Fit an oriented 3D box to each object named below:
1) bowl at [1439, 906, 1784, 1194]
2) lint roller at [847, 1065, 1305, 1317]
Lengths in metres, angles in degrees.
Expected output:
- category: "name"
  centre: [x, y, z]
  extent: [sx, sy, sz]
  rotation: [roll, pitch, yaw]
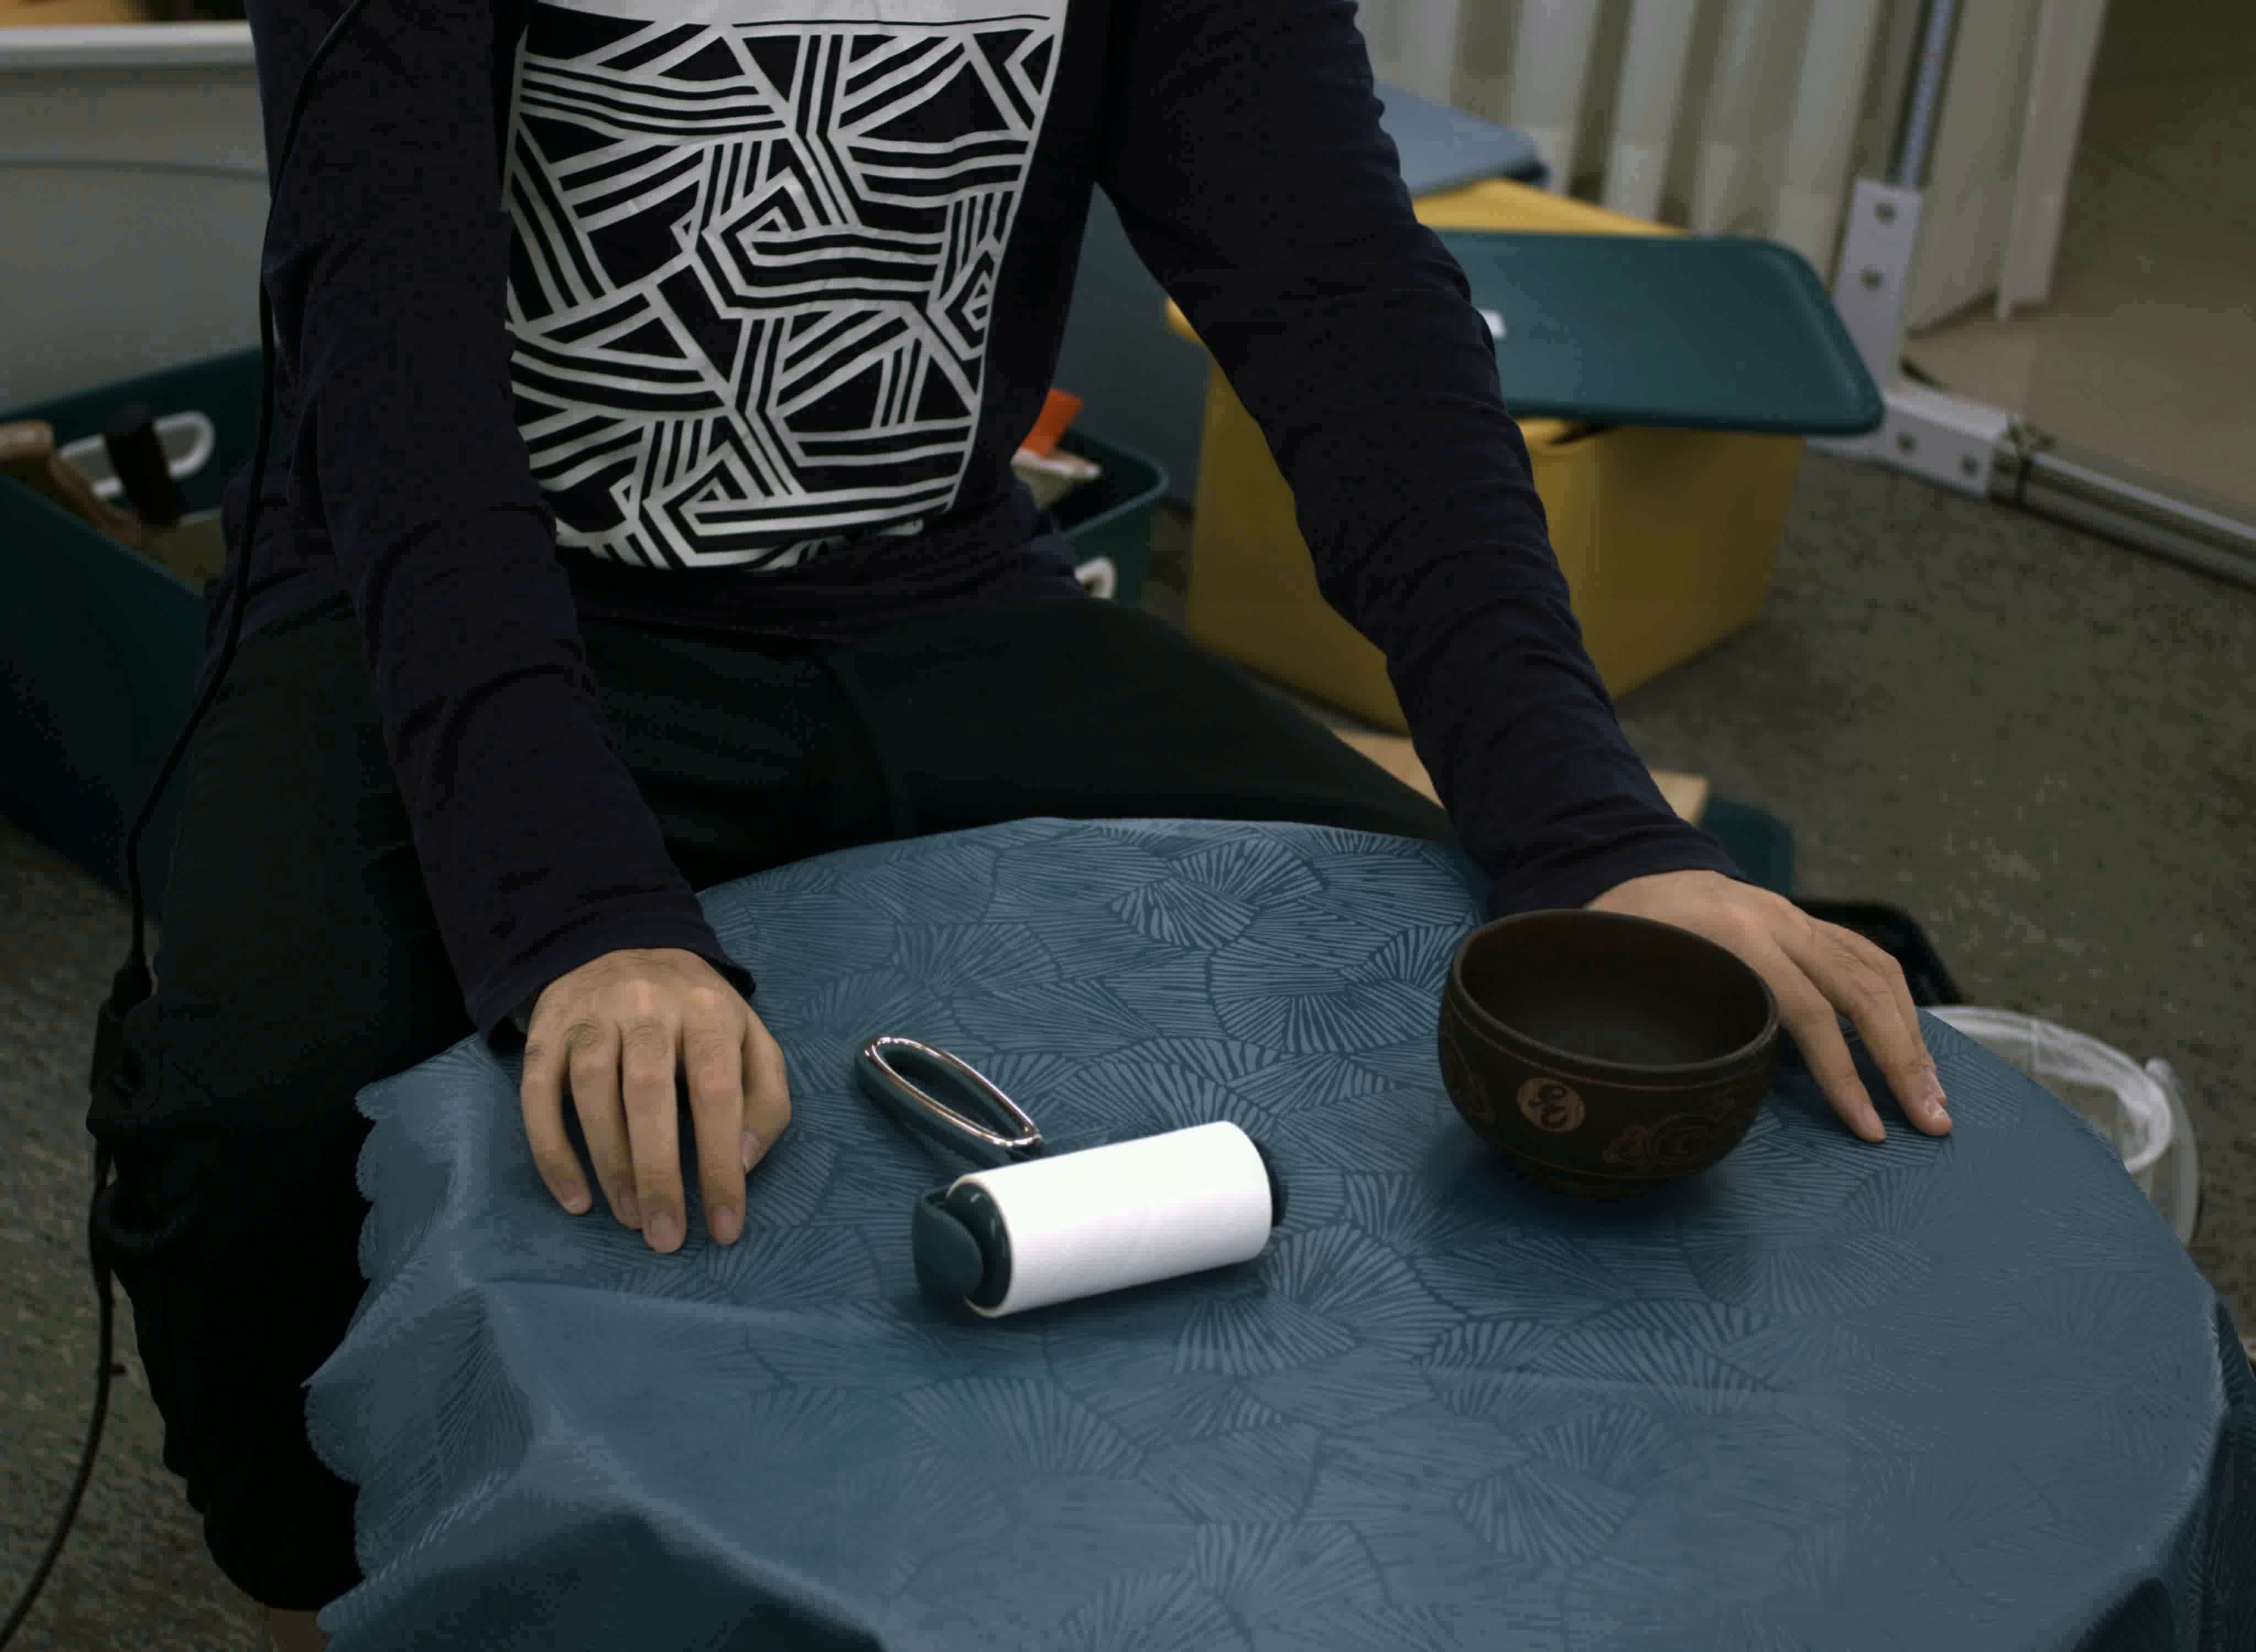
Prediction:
- category: "bowl"
  centre: [0.165, 0.084, 1.841]
  extent: [0.117, 0.069, 0.119]
  rotation: [3, 26, -2]
- category: "lint roller"
  centre: [-0.043, 0.102, 1.794]
  extent: [0.133, 0.048, 0.182]
  rotation: [-10, 28, -30]
